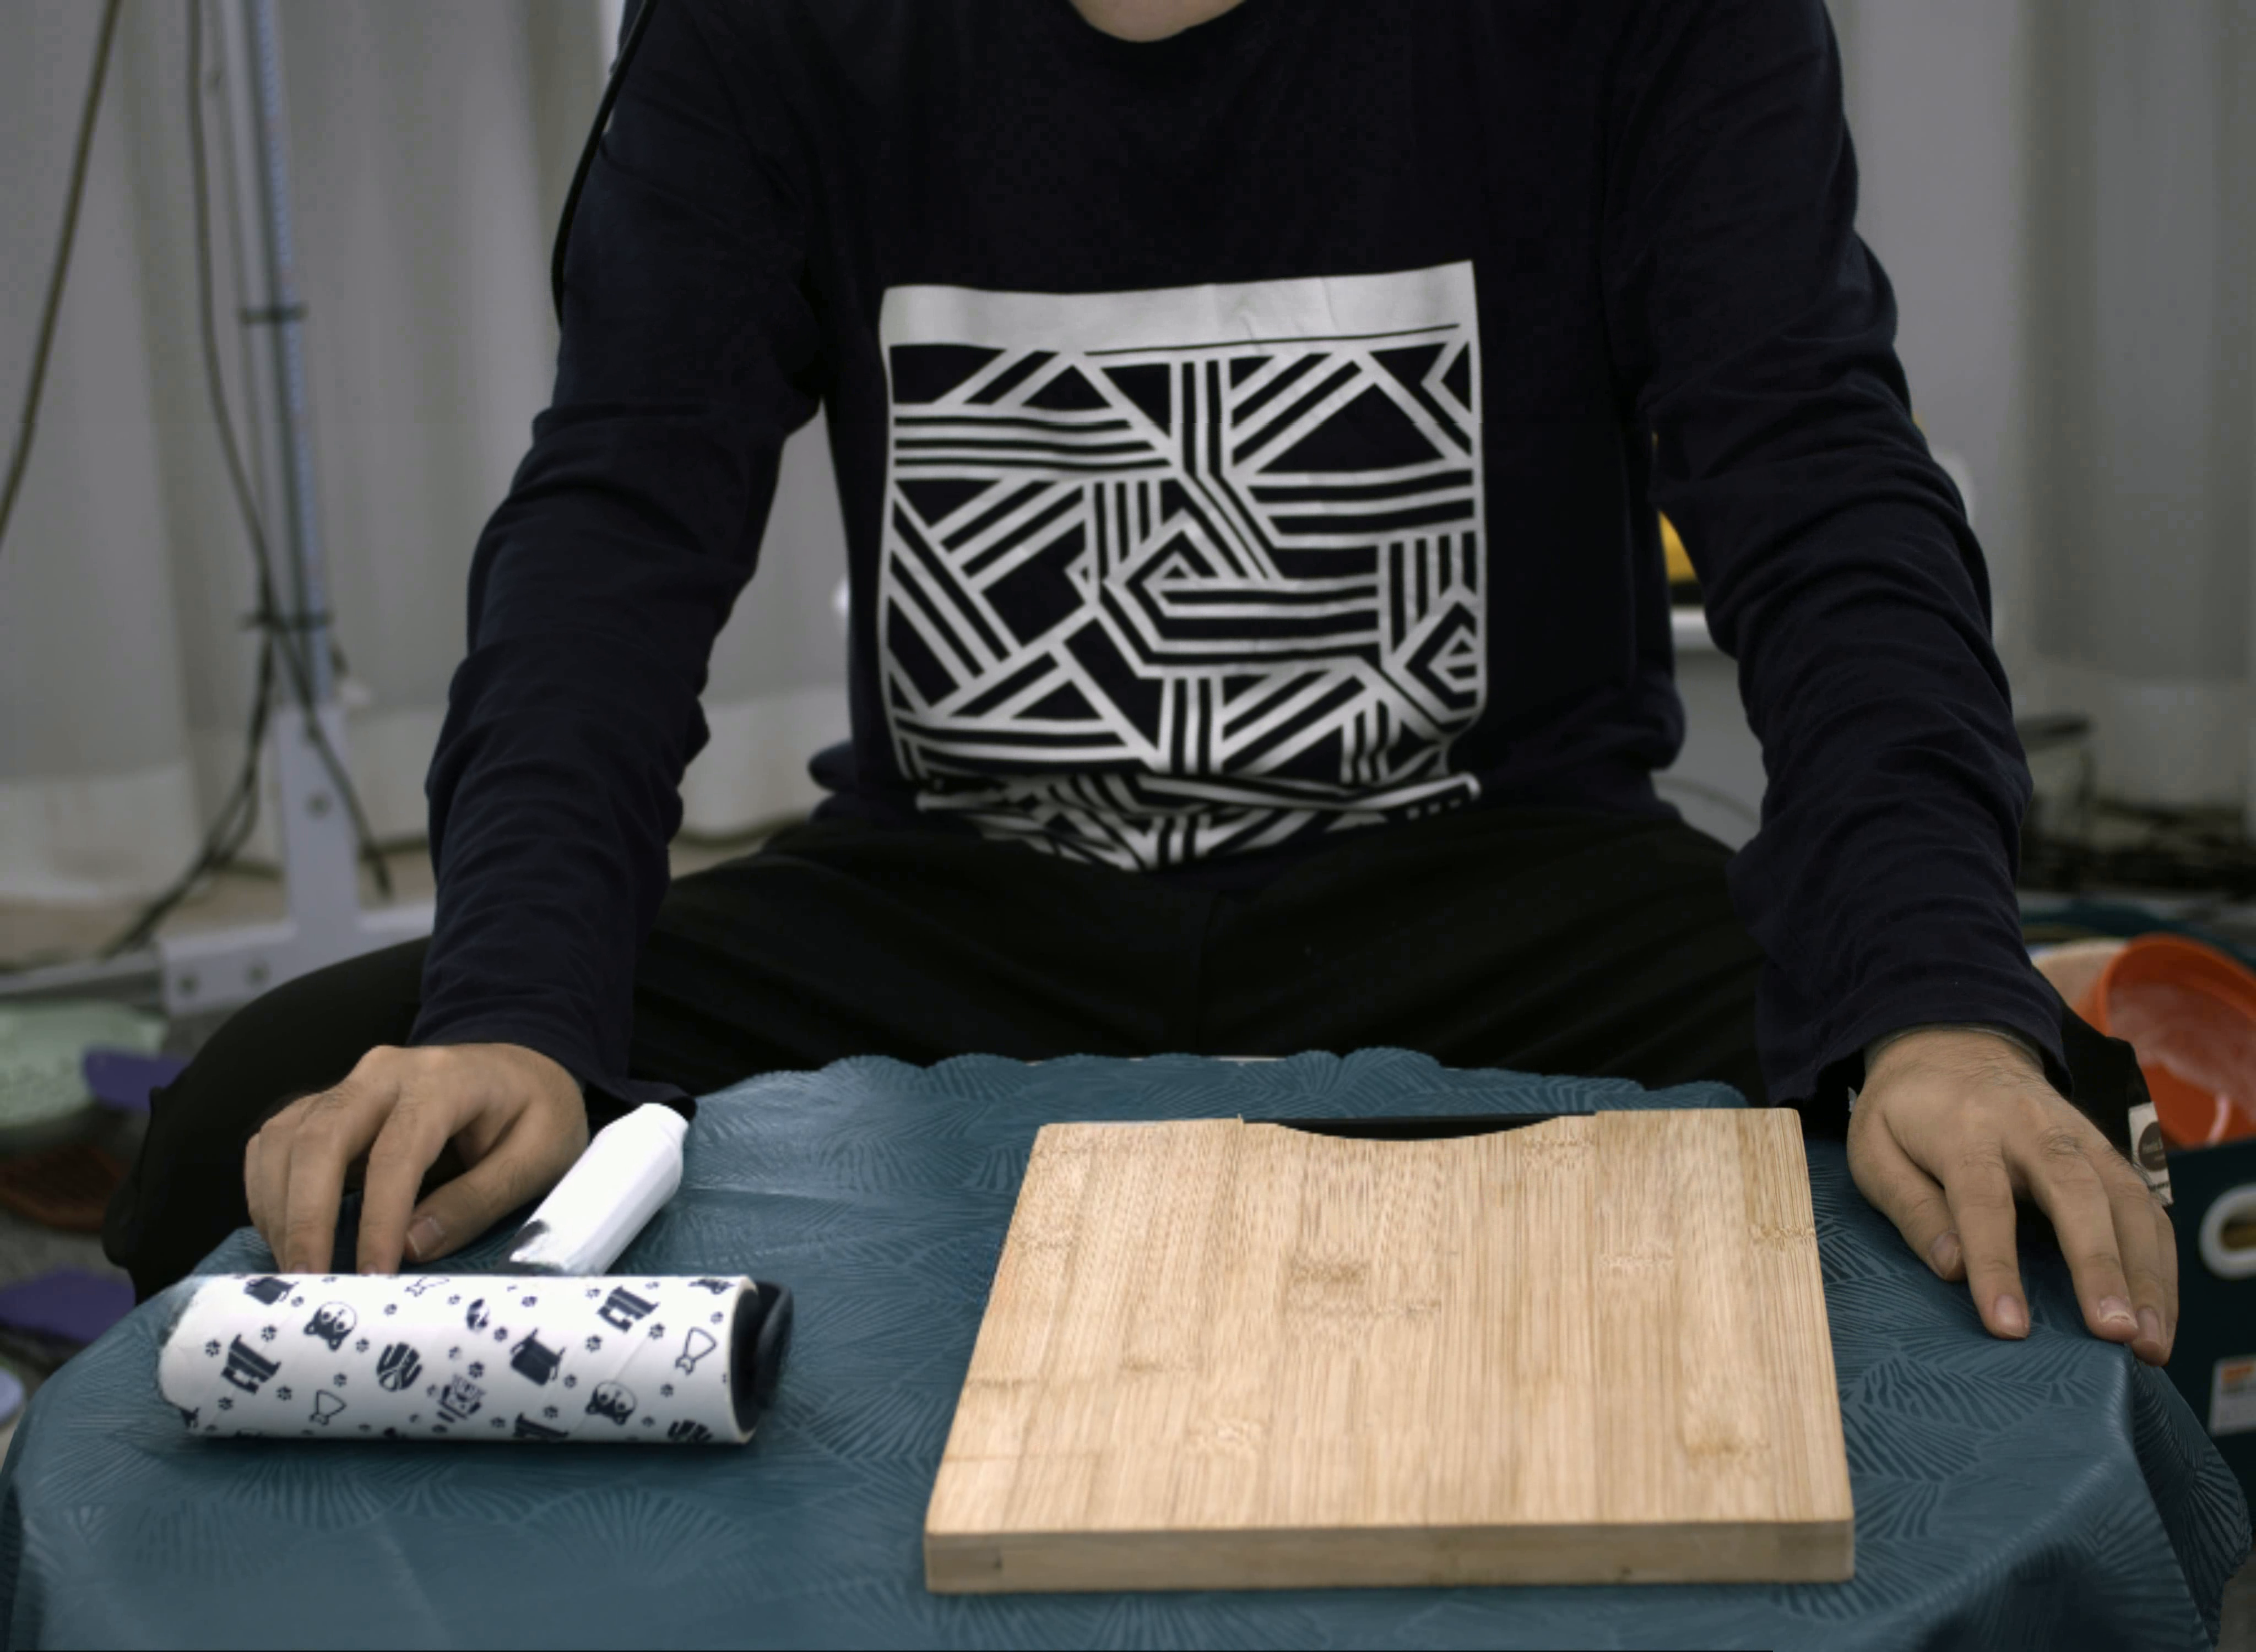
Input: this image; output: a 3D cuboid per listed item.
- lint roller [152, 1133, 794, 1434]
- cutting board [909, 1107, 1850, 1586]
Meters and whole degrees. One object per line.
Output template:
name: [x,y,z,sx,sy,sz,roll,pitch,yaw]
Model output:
lint roller: [-0.170,0.126,1.629,0.176,0.050,0.248,-2,12,9]
cutting board: [0.078,0.143,1.565,0.250,0.023,0.351,-1,15,4]
